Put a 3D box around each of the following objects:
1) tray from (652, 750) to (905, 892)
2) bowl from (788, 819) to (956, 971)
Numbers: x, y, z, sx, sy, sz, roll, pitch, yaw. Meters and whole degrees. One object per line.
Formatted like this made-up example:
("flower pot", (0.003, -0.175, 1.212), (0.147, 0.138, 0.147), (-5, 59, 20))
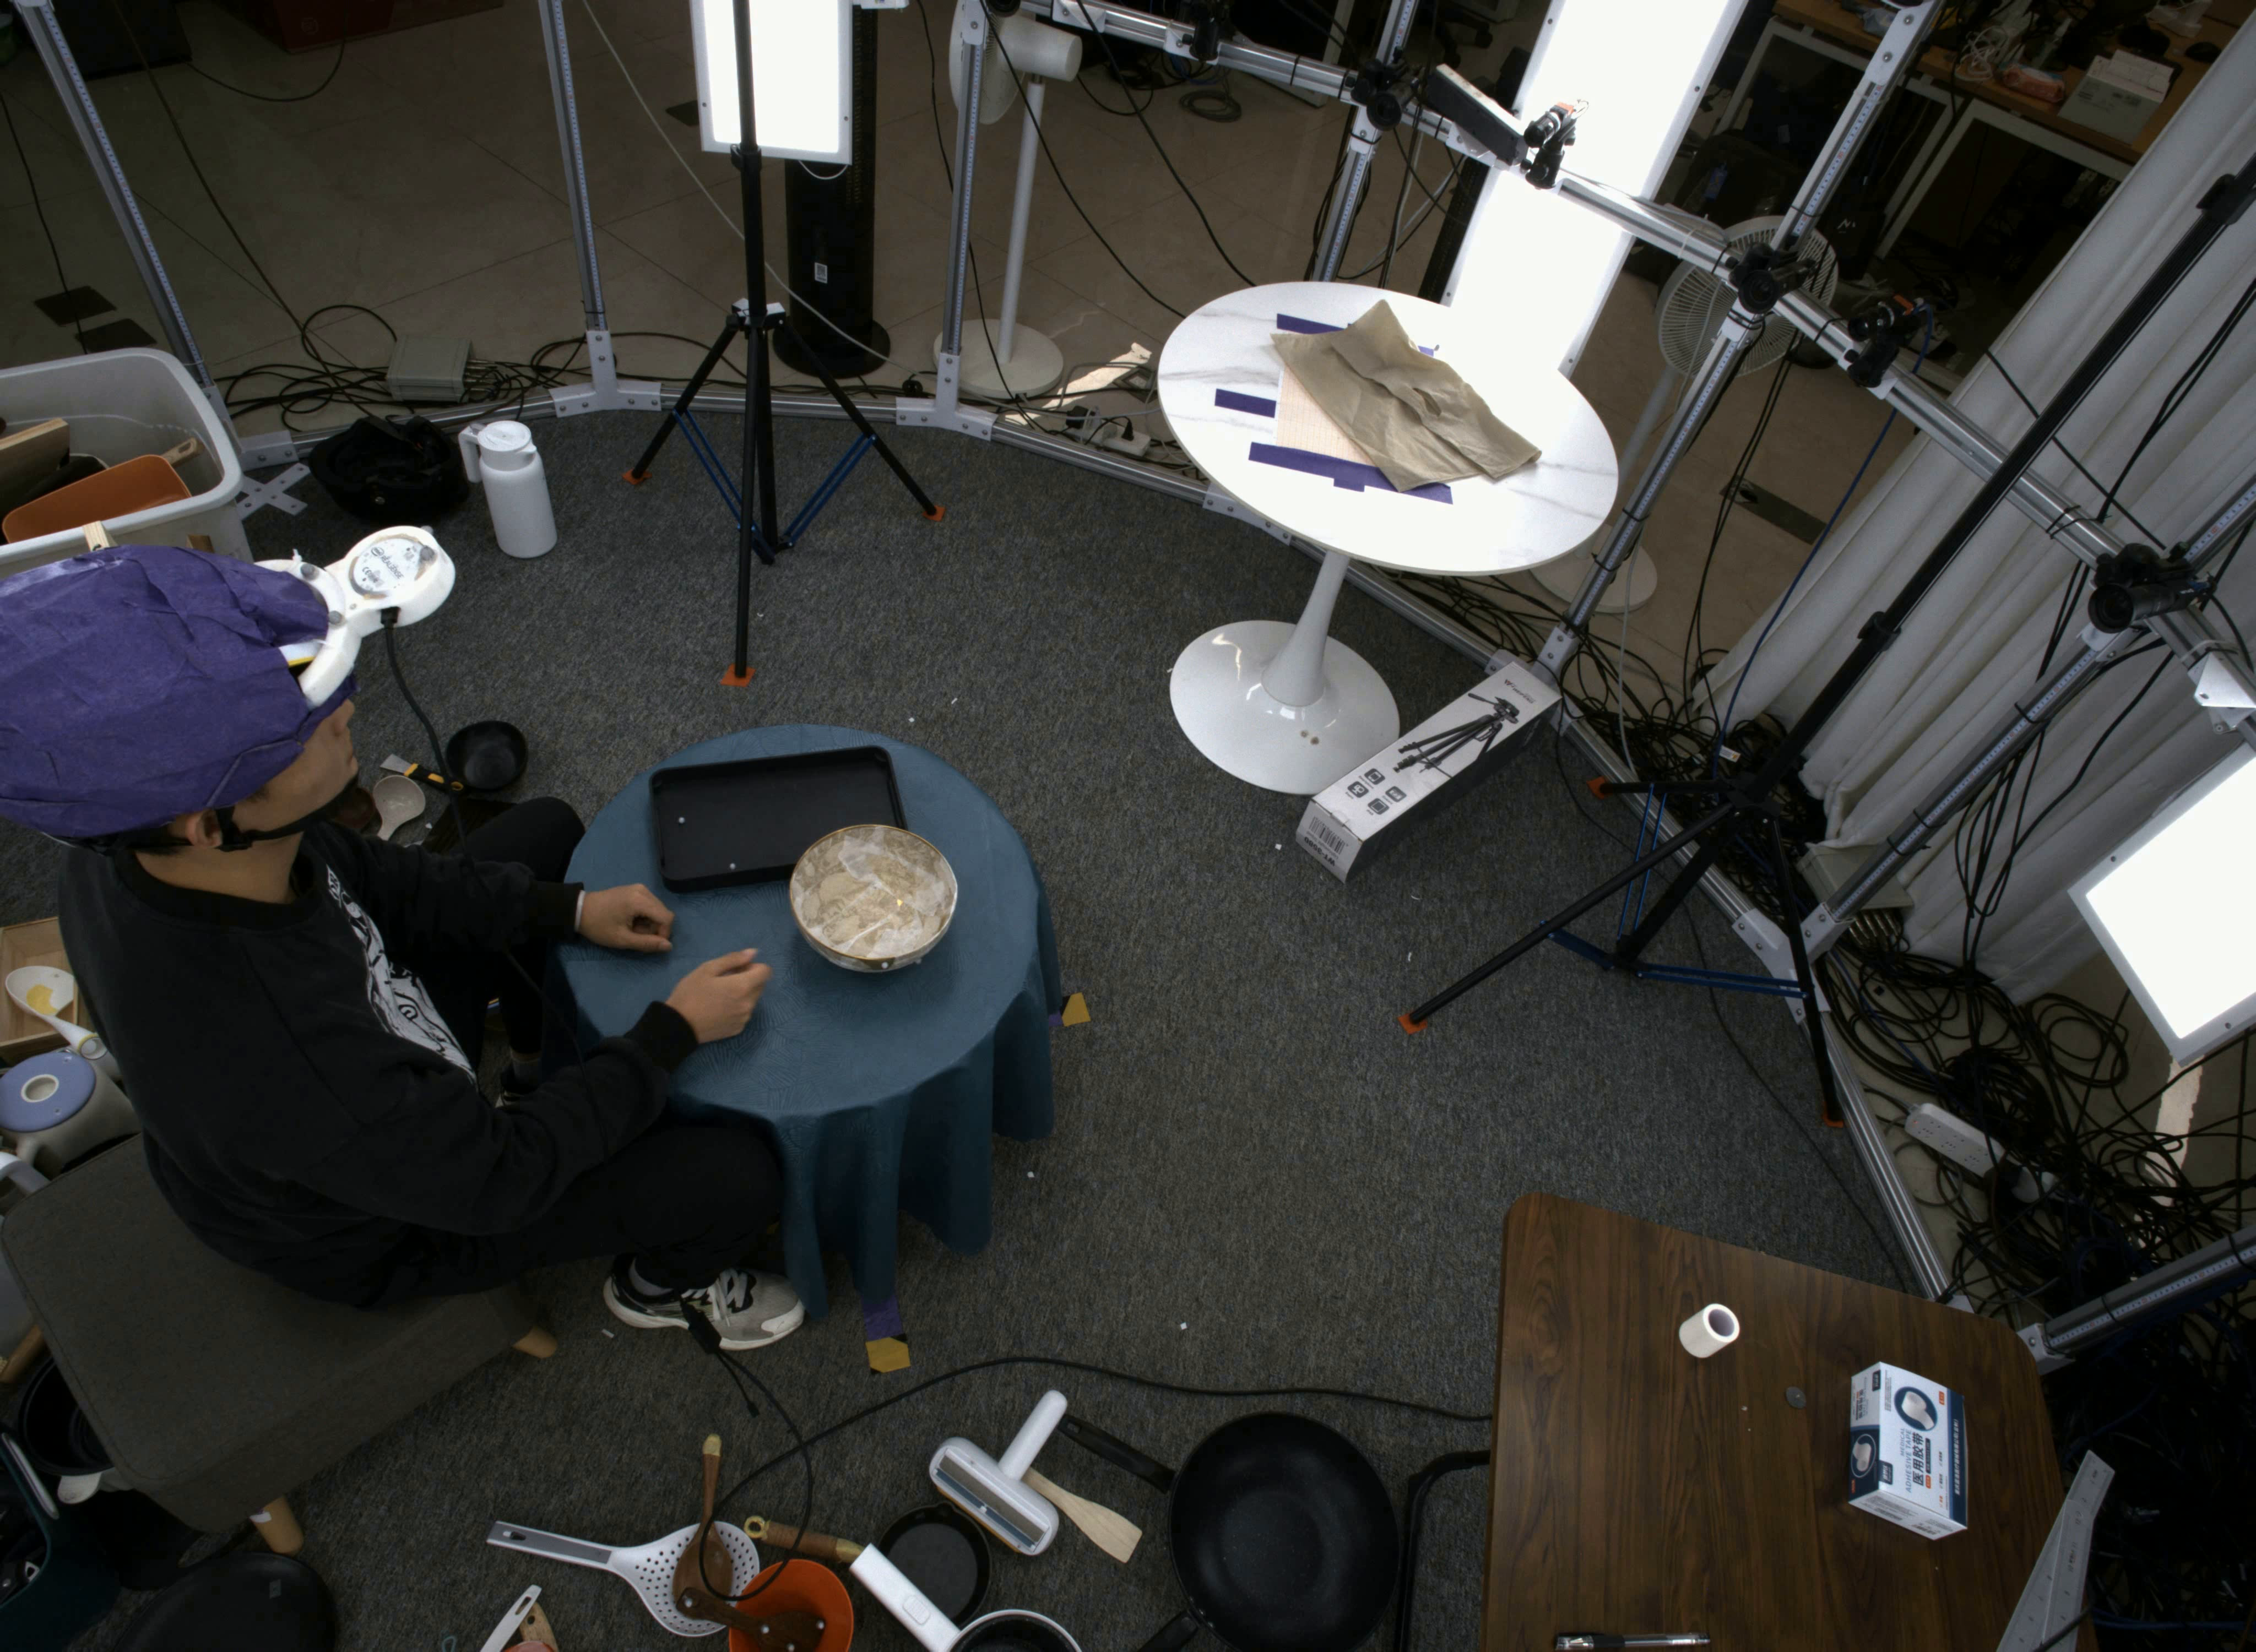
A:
("tray", (-0.459, -0.011, 1.708), (0.319, 0.038, 0.180), (-5, 55, -20))
("bowl", (-0.321, 0.098, 1.622), (0.214, 0.096, 0.211), (8, 54, -9))
